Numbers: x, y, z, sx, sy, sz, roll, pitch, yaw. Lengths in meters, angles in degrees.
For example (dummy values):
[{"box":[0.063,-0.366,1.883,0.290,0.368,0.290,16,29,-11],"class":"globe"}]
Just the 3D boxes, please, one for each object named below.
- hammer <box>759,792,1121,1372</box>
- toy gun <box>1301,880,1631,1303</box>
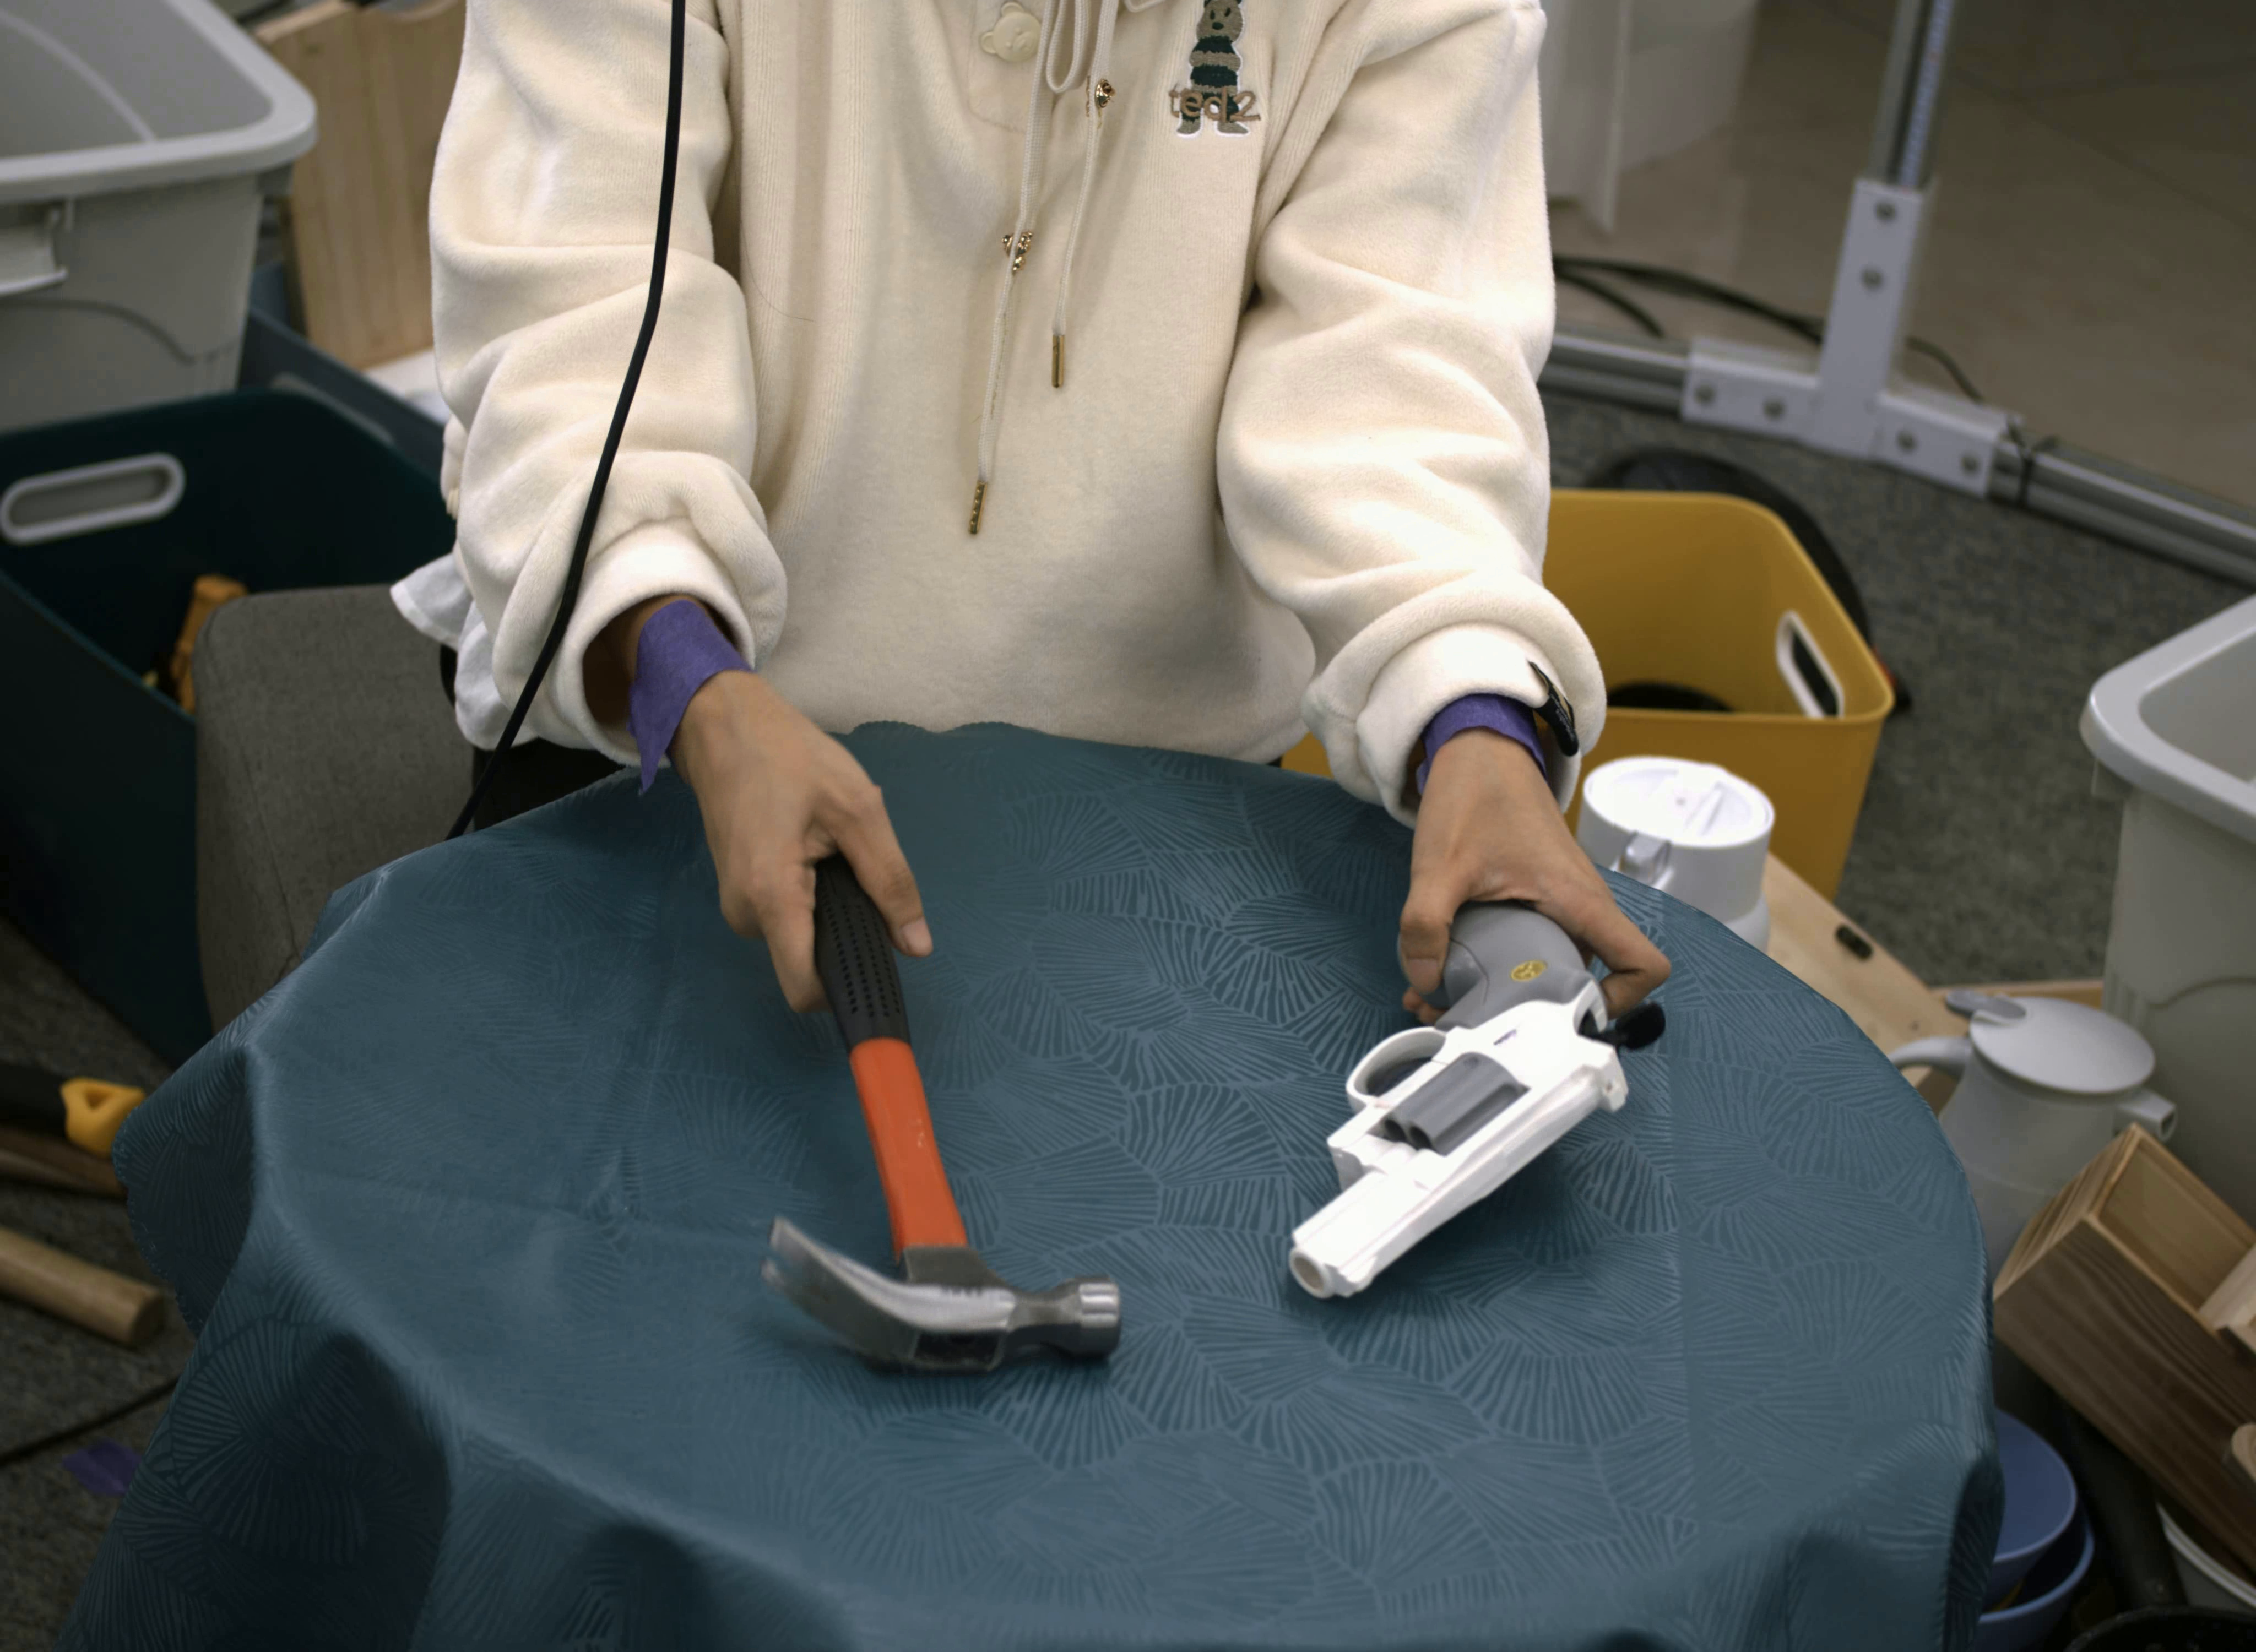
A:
[{"box":[-0.084,0.080,1.784,0.110,0.026,0.280,-6,39,-10],"class":"hammer"},{"box":[0.103,0.089,1.832,0.209,0.038,0.142,-37,30,-31],"class":"toy gun"}]
